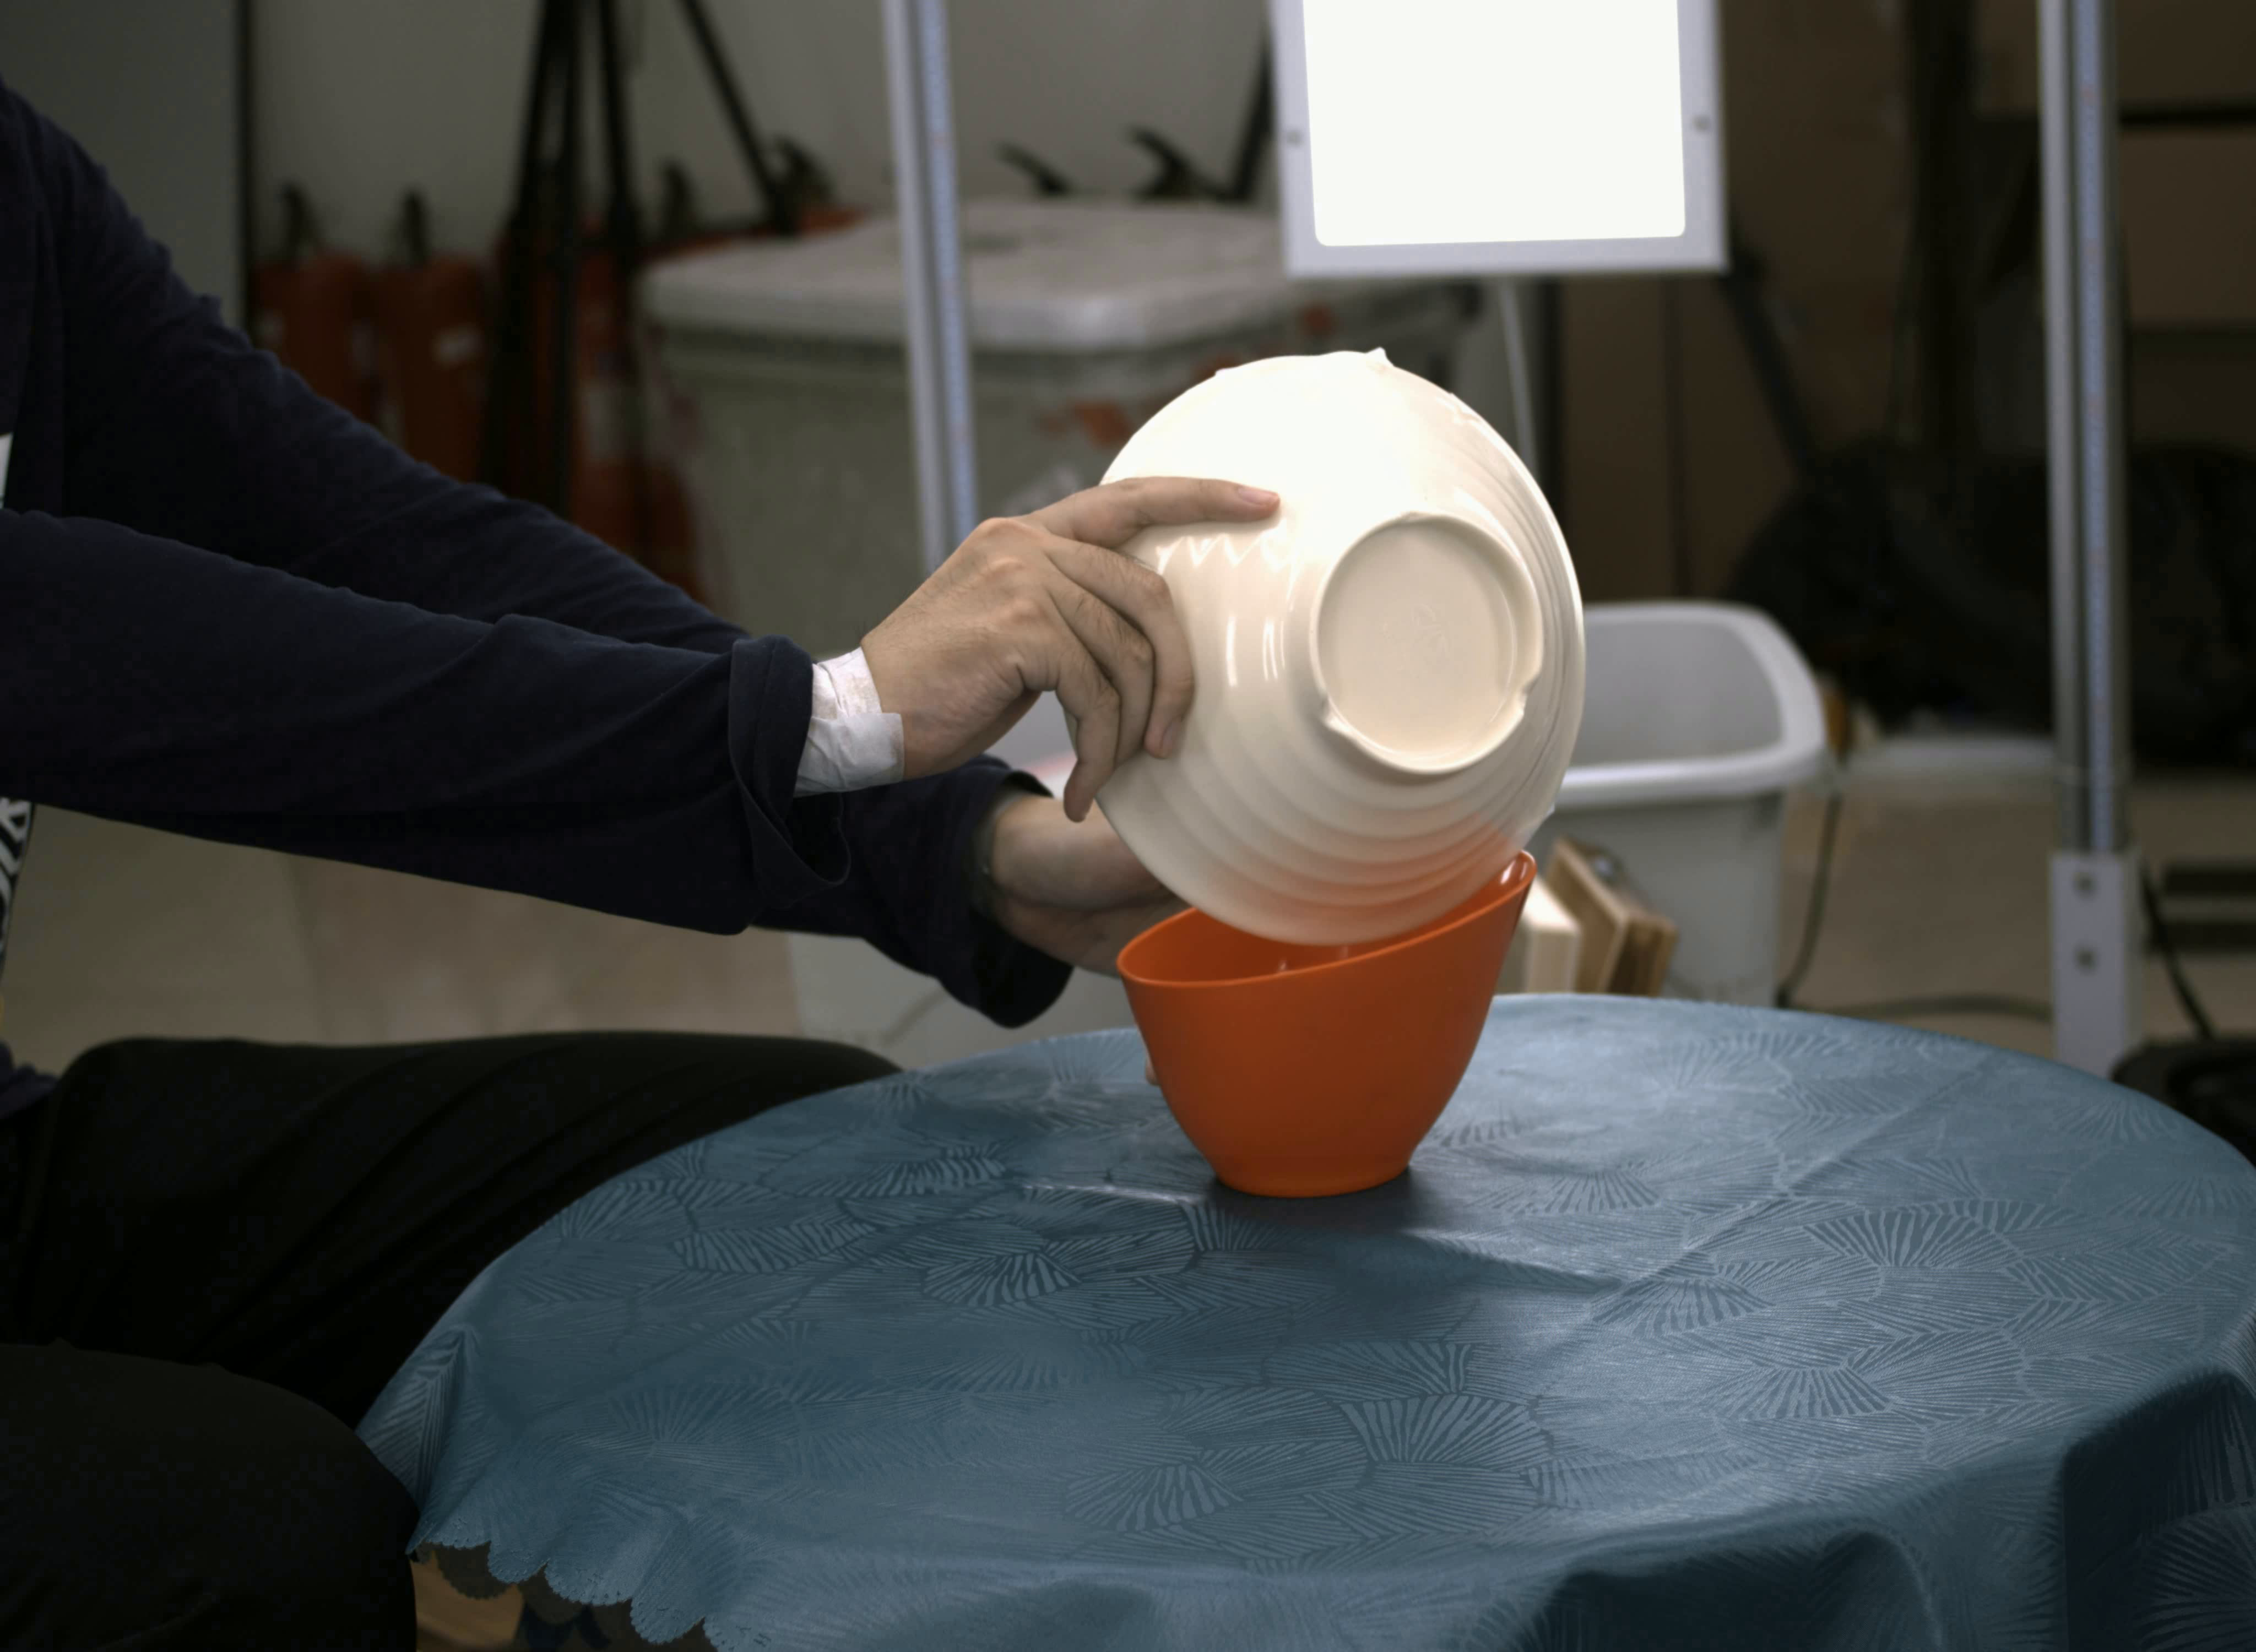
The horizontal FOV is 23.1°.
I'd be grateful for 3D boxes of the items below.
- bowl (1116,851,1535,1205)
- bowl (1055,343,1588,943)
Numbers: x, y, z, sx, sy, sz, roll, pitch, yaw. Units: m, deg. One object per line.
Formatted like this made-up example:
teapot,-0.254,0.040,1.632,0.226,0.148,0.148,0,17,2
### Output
bowl,0.072,0.071,1.895,0.147,0.105,0.148,-7,13,0
bowl,0.083,-0.063,1.835,0.200,0.204,0.079,-11,3,-23
